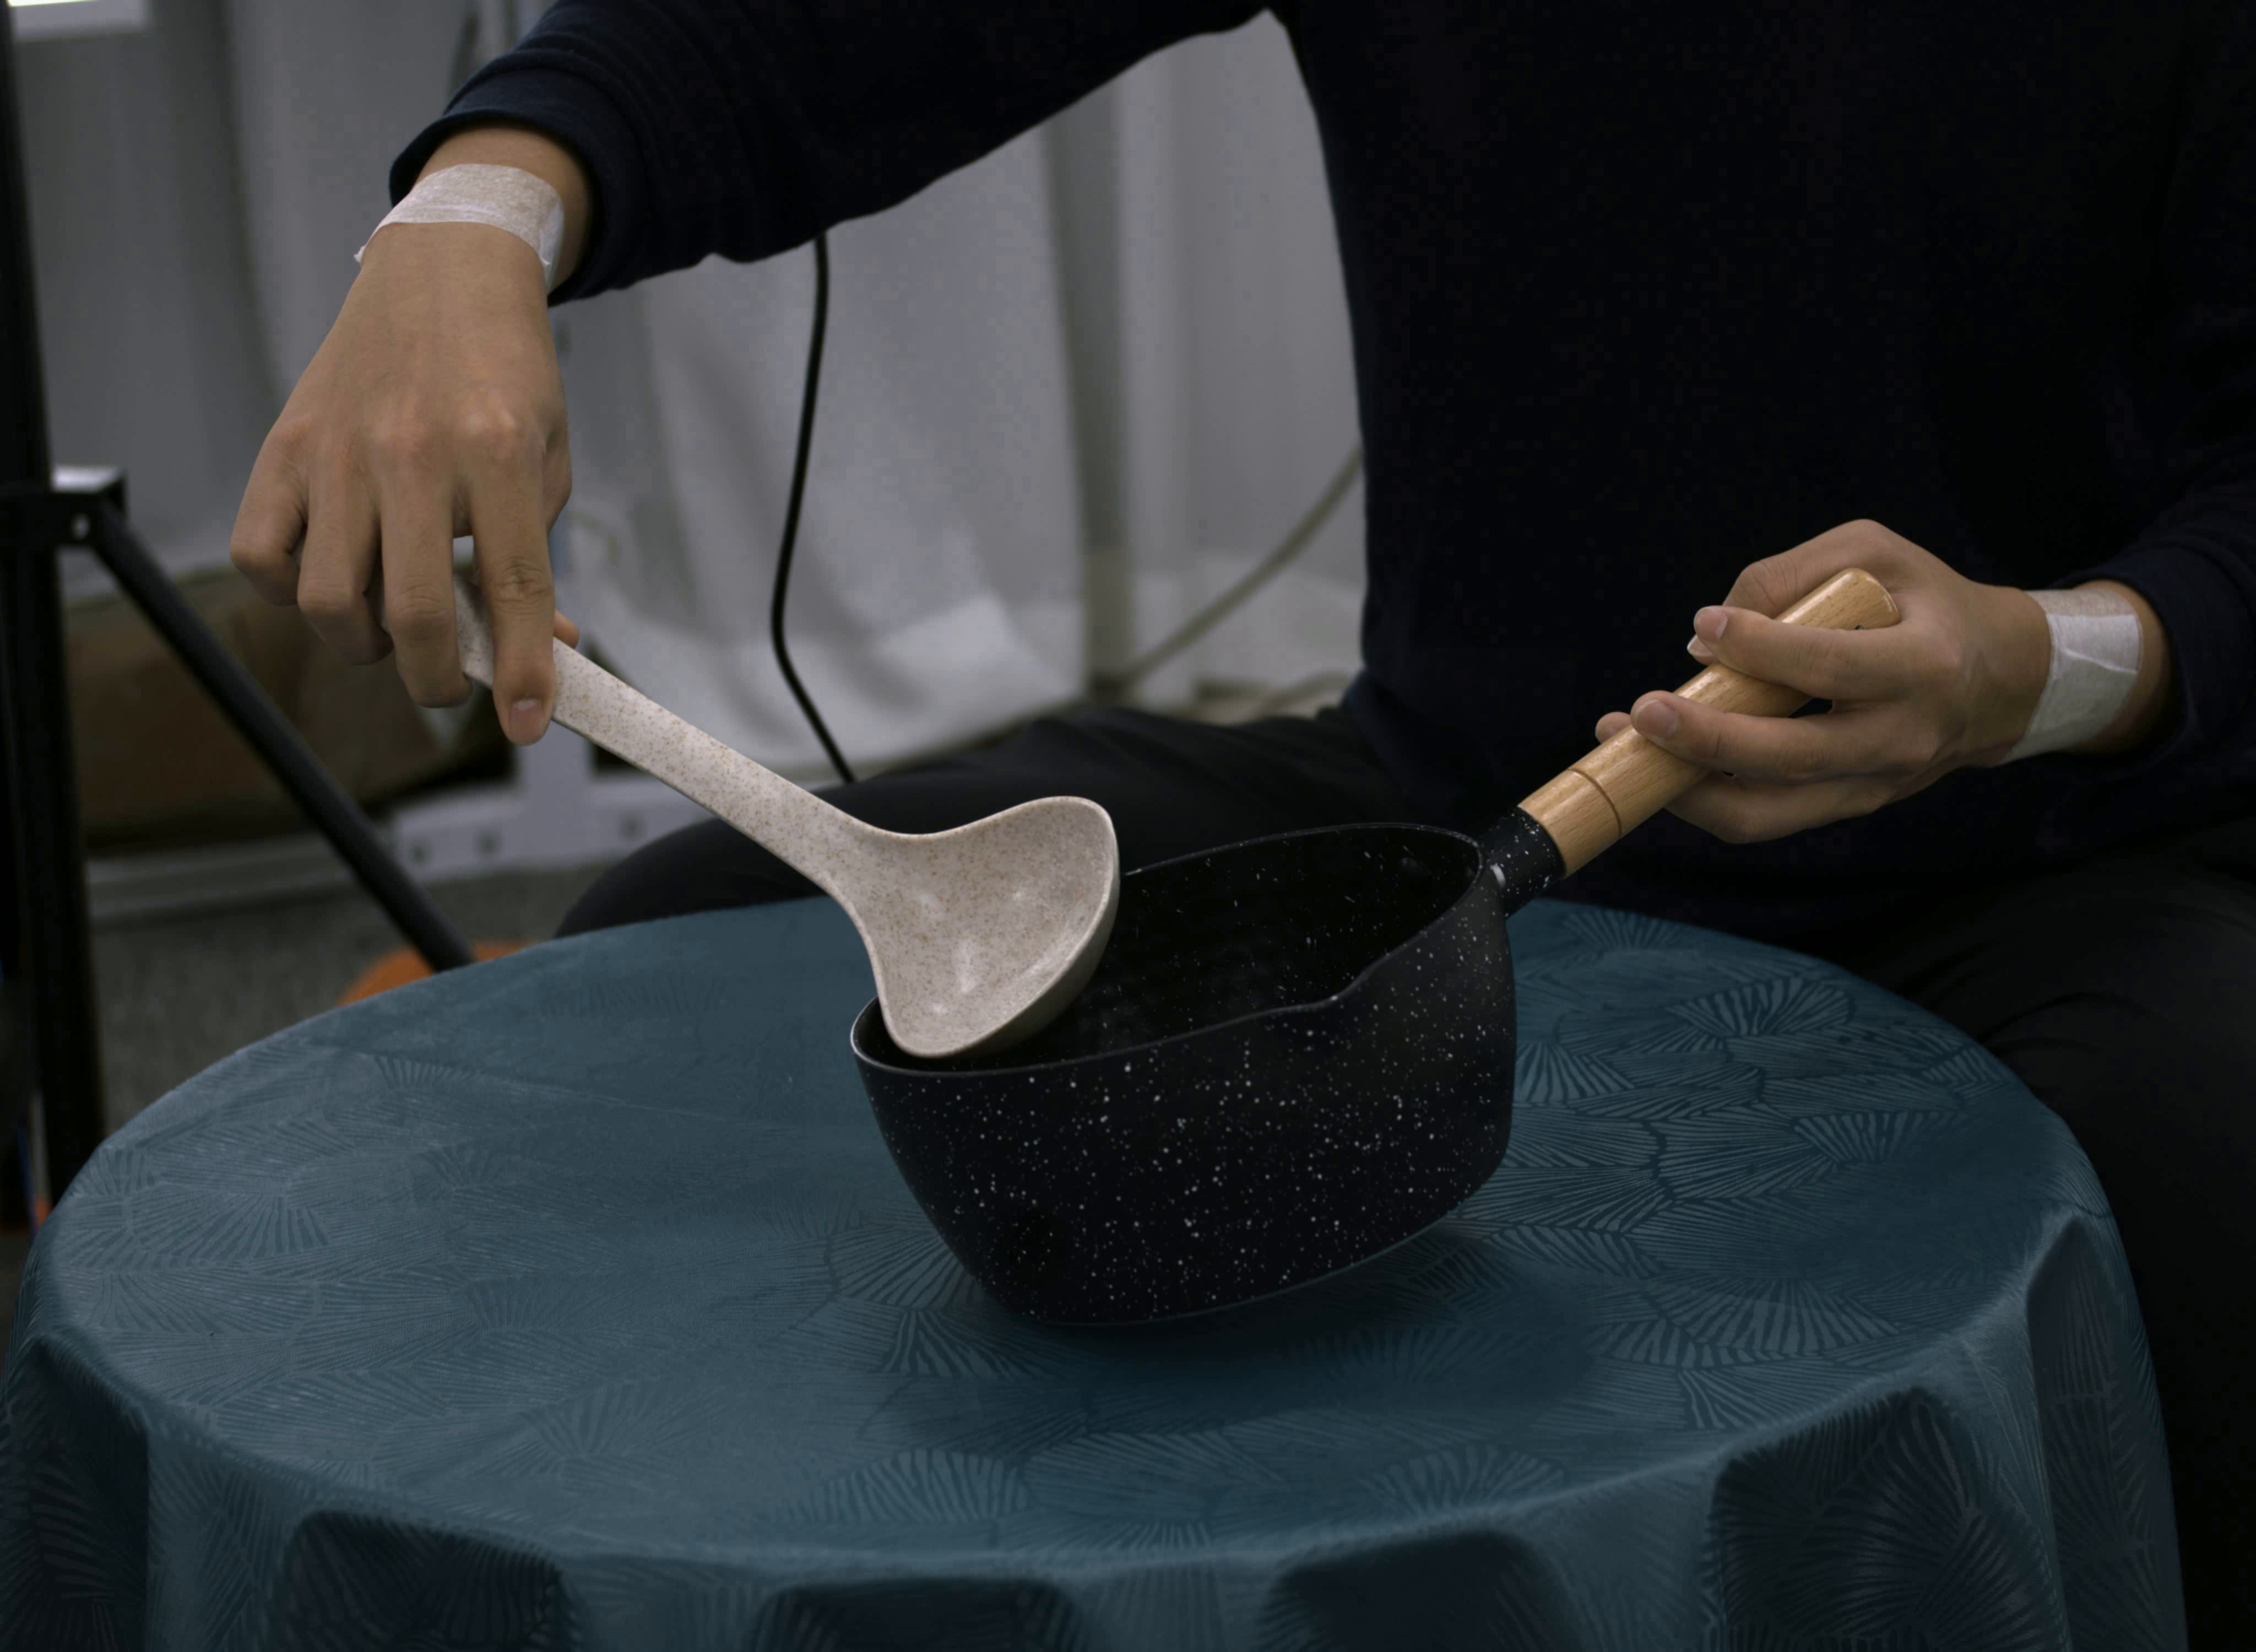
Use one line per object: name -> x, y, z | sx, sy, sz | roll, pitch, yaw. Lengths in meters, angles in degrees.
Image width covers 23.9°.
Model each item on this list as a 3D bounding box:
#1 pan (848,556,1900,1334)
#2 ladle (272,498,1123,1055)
pan -> 0.087, 0.033, 1.500 | 0.337, 0.108, 0.211 | -24, 14, -21
ladle -> -0.127, -0.027, 1.506 | 0.275, 0.089, 0.069 | 31, -12, 6
